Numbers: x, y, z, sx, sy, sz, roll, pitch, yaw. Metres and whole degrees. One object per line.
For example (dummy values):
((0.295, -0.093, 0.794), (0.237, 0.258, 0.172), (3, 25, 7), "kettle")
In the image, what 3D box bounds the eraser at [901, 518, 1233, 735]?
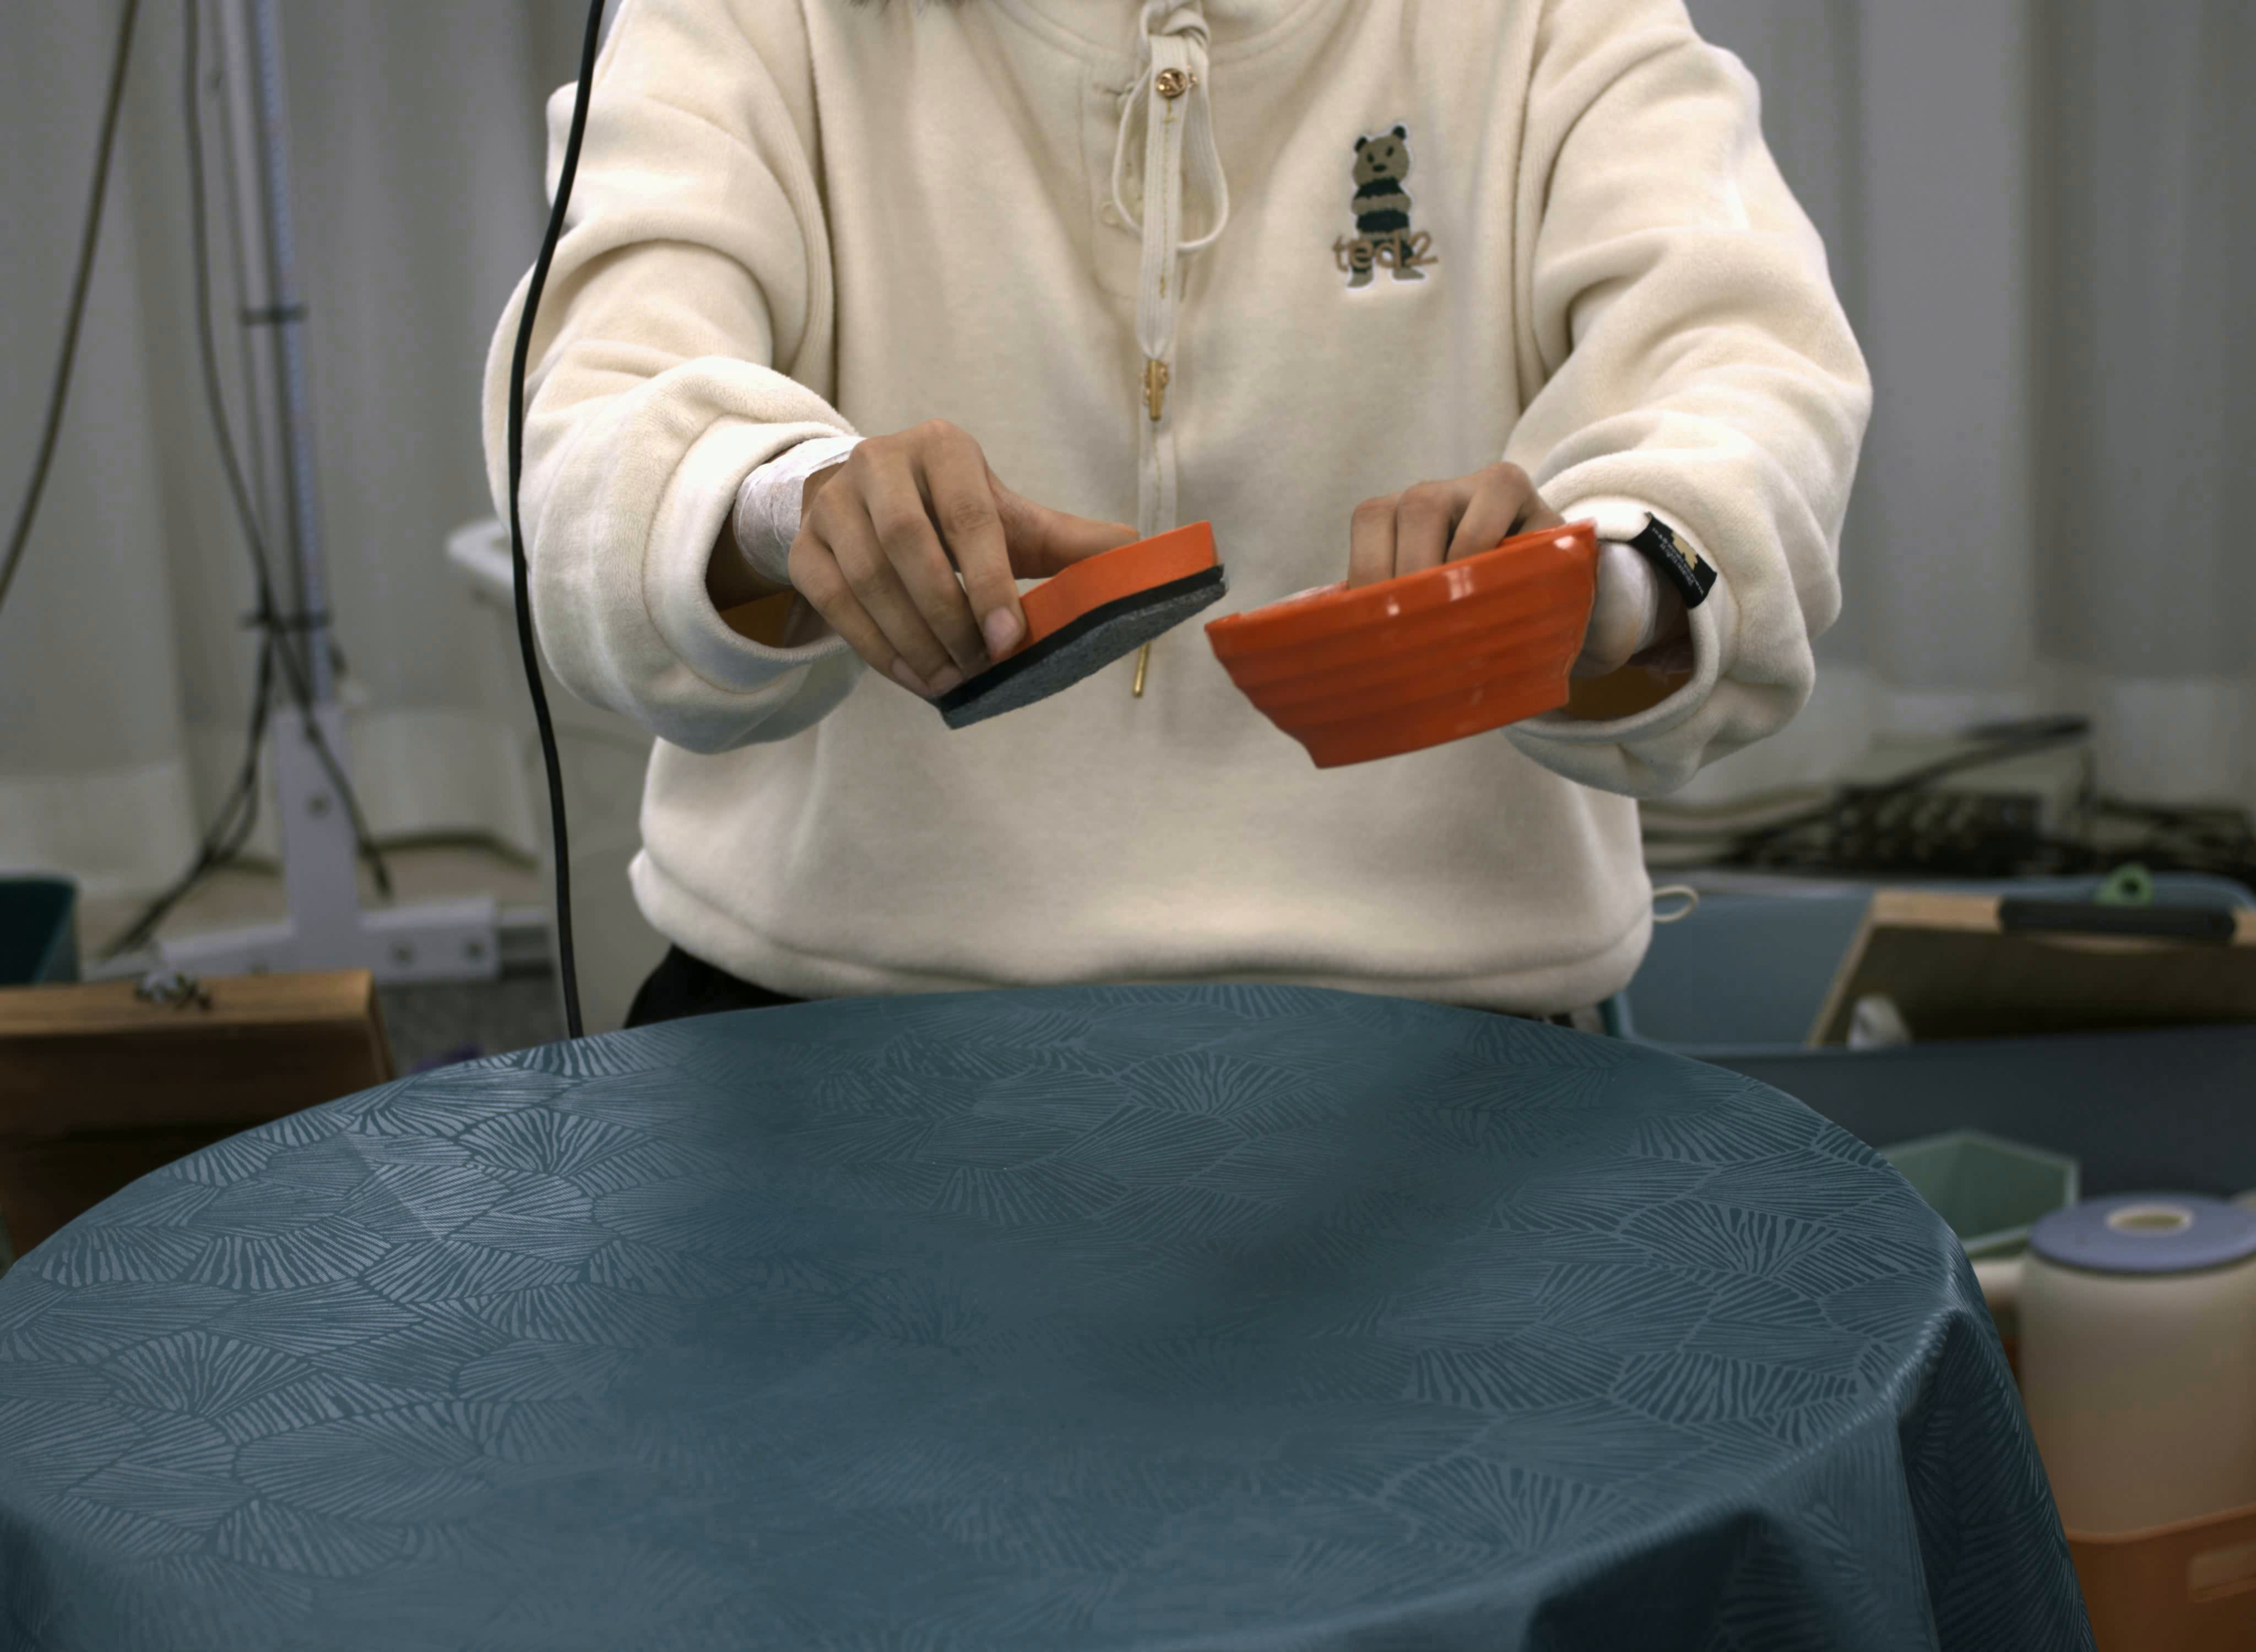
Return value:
((-0.019, -0.059, 1.646), (0.059, 0.023, 0.107), (-23, -3, -39), "eraser")

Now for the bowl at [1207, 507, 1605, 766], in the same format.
((0.086, -0.052, 1.584), (0.118, 0.051, 0.119), (-16, 3, 0), "bowl")
